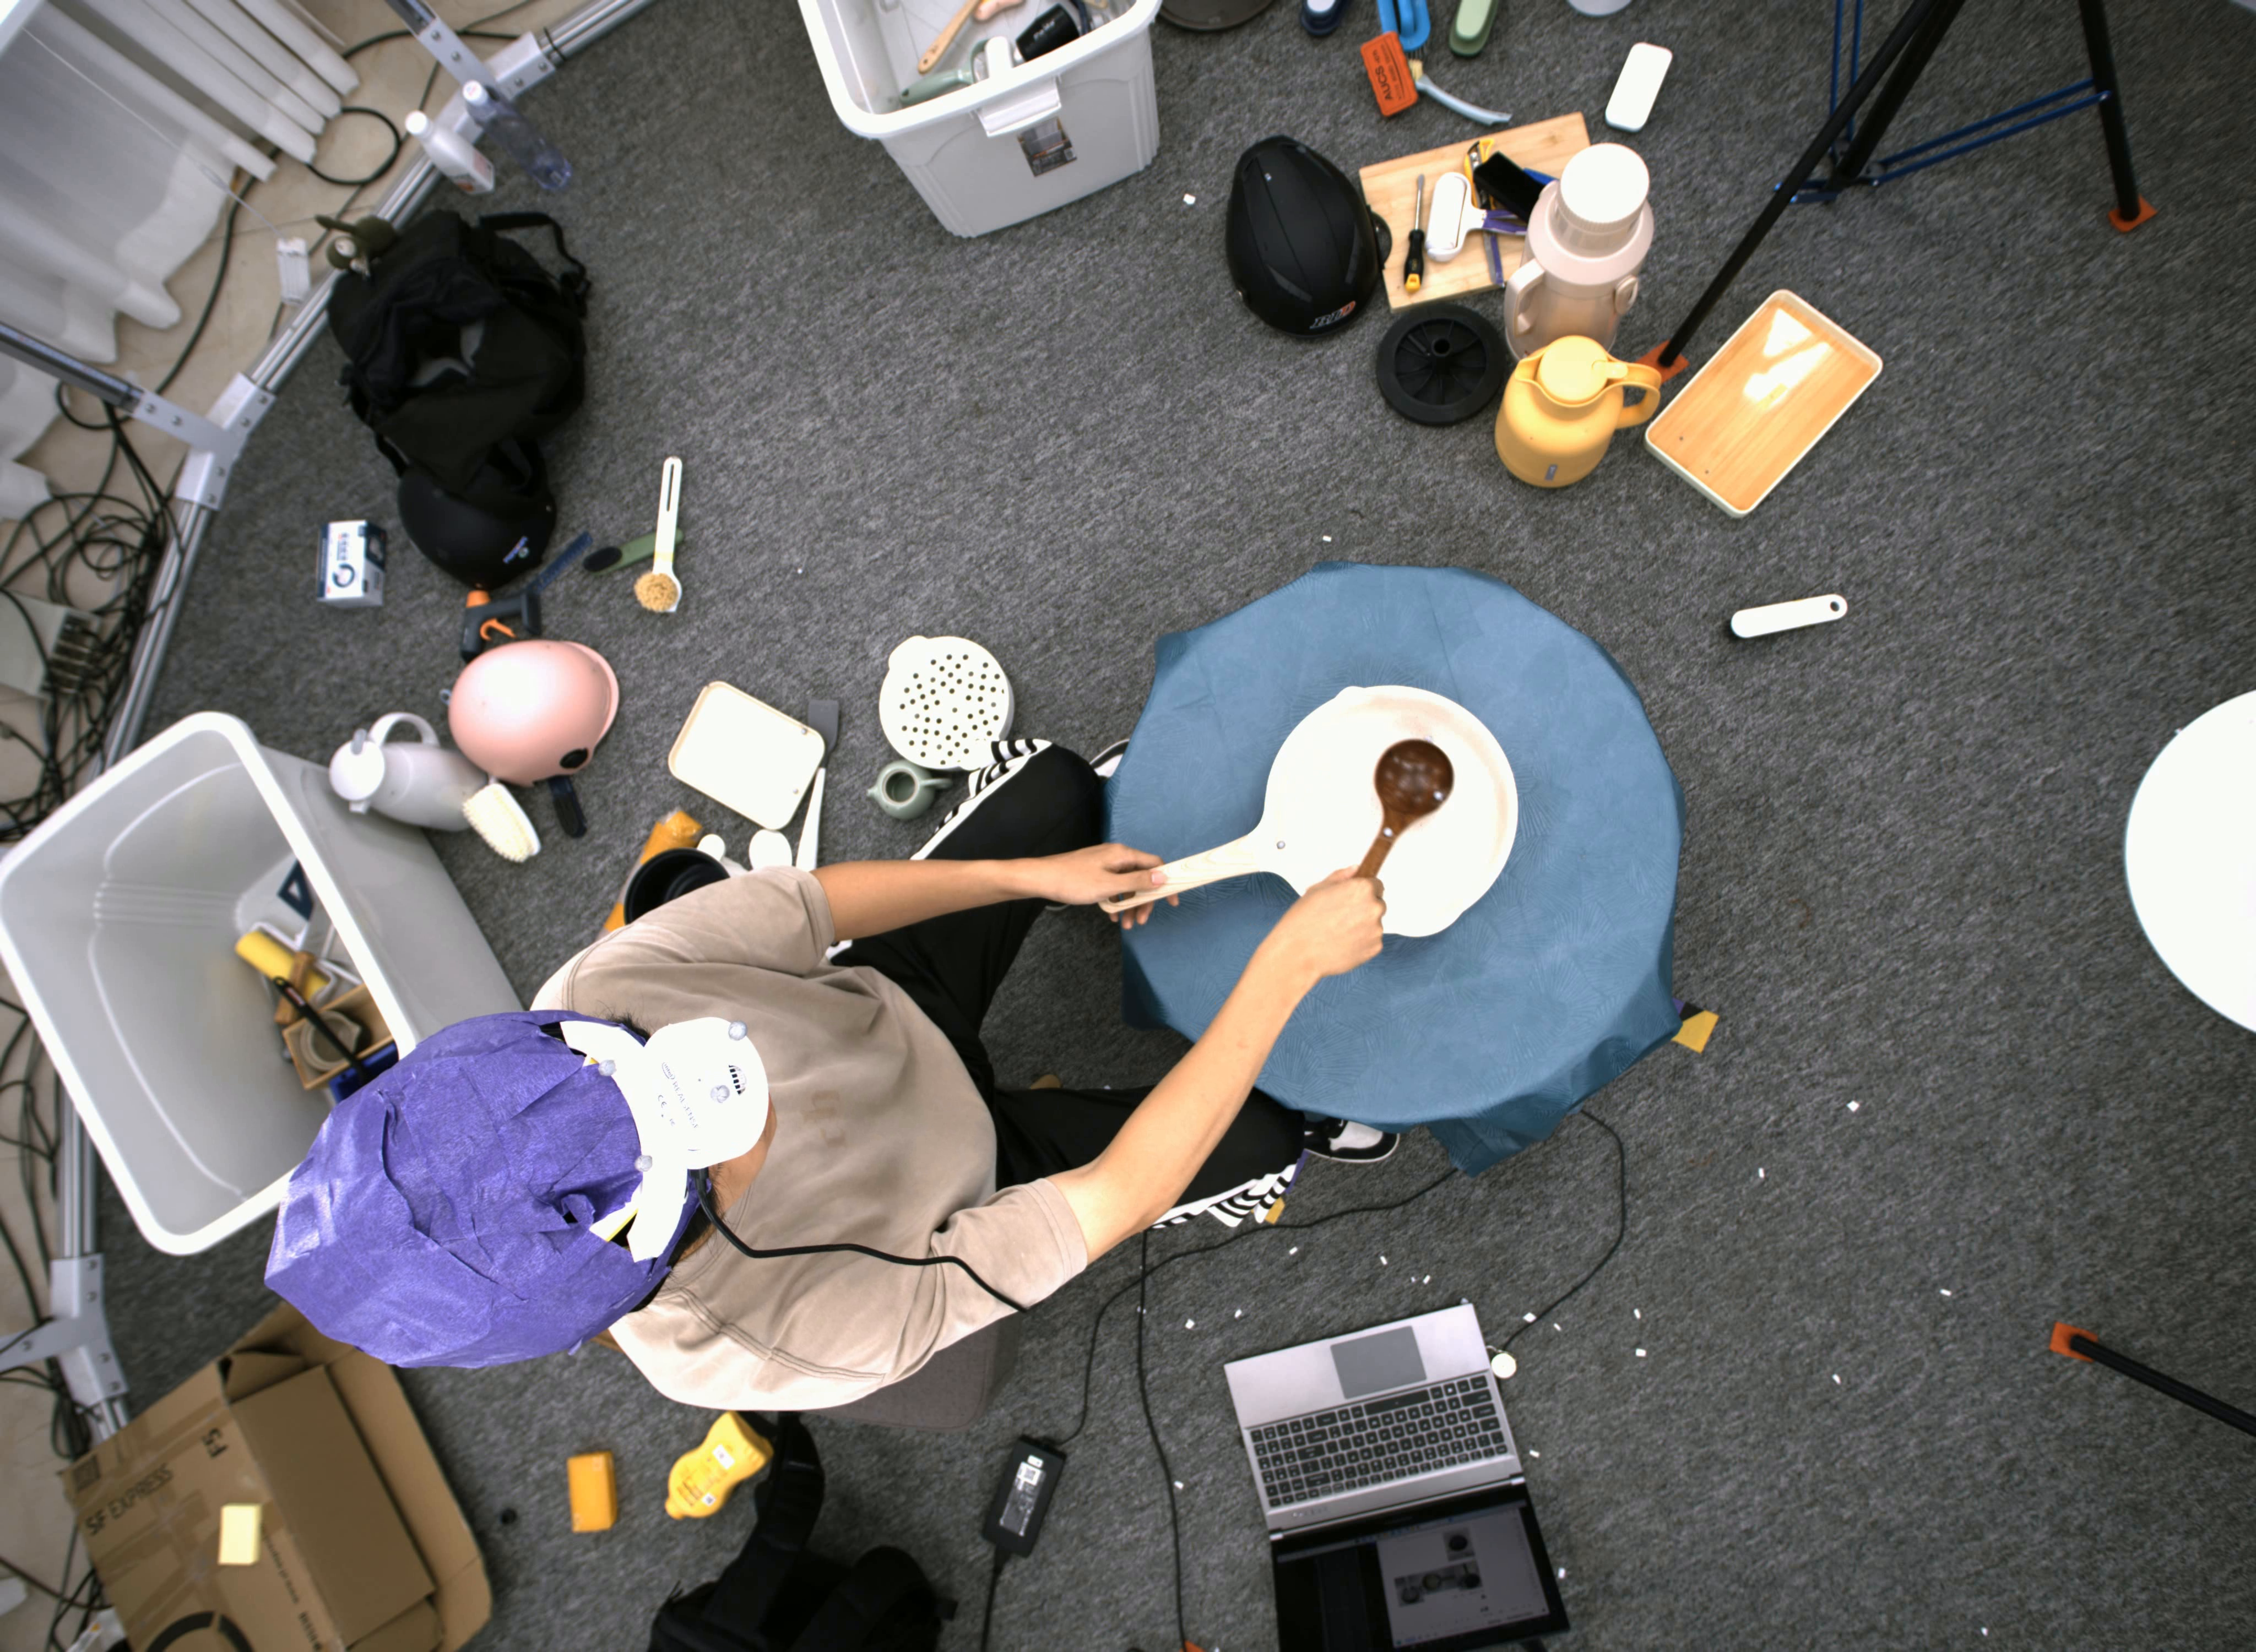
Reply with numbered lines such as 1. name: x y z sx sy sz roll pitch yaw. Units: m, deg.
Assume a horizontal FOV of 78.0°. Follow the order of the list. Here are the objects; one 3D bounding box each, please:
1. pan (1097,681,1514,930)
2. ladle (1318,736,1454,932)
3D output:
1. pan: 0.180 0.010 1.431 0.437 0.102 0.262 -19 84 9
2. ladle: 0.244 -0.002 1.316 0.082 0.267 0.078 17 126 20
